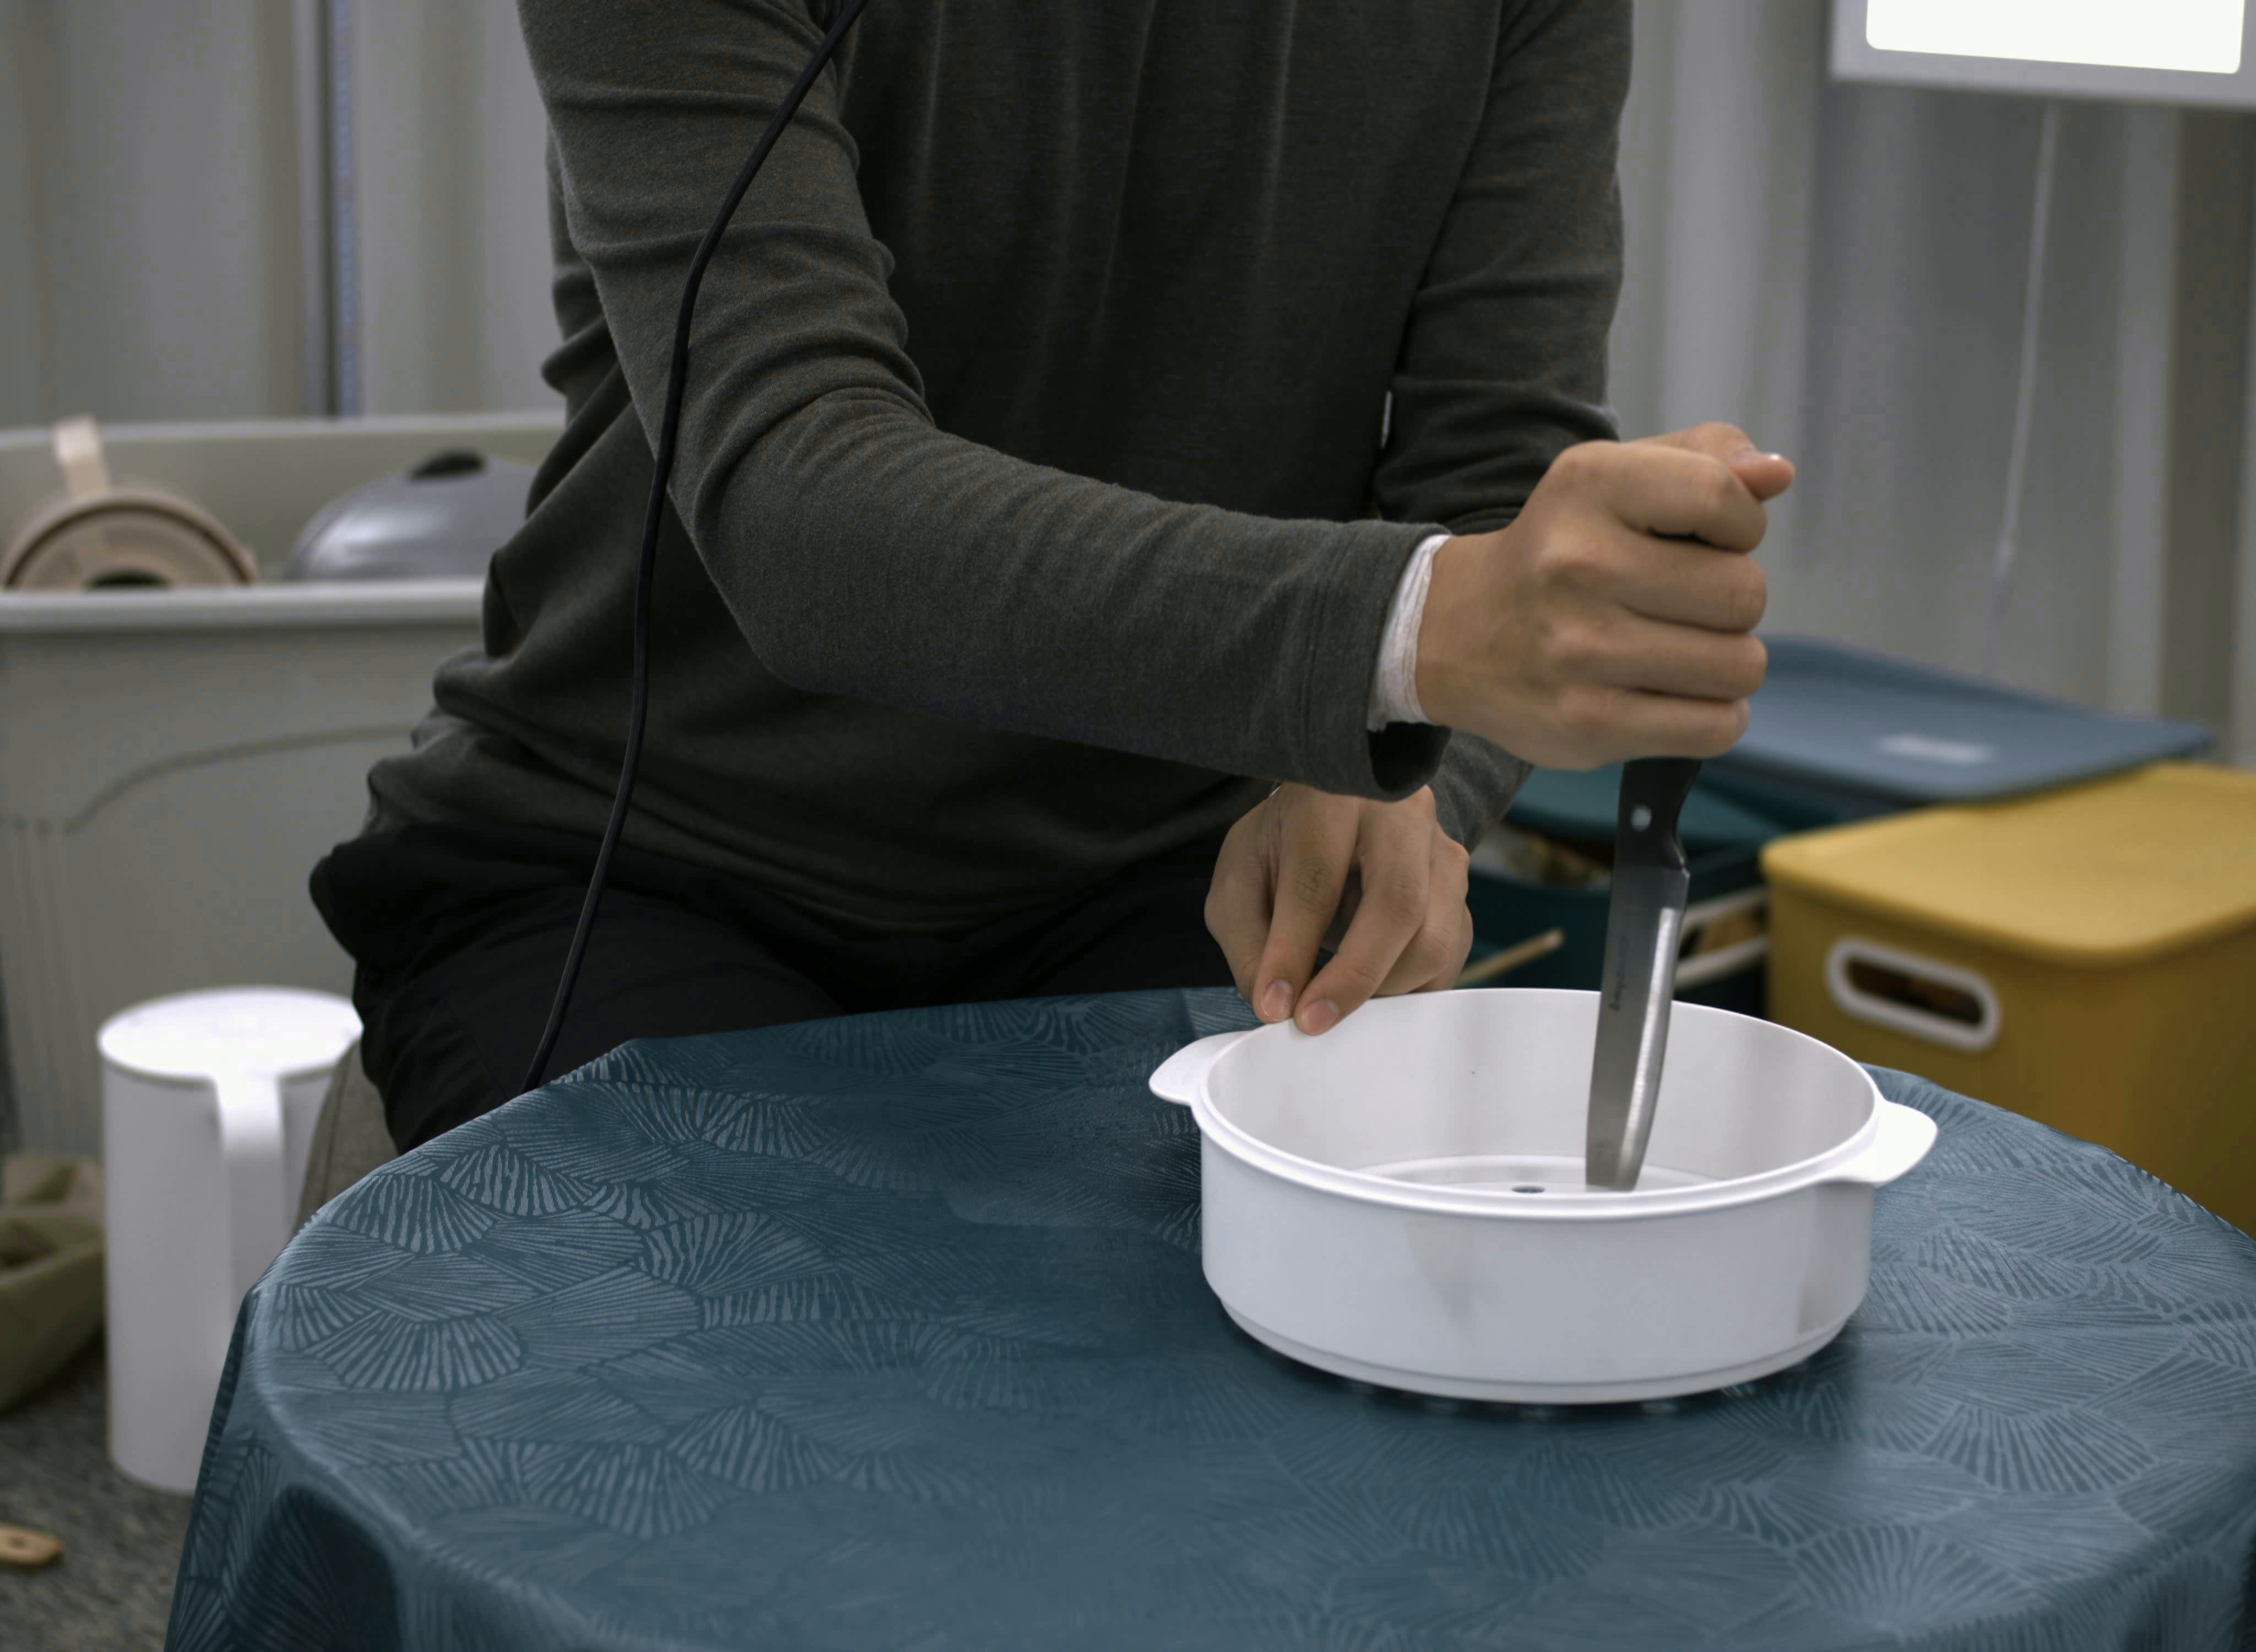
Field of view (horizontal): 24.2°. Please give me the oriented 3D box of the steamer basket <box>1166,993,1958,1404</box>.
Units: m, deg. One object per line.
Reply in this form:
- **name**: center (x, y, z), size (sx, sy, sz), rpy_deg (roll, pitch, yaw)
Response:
- **steamer basket**: center (0.123, 0.106, 1.522), size (0.228, 0.070, 0.202), rpy_deg (6, 16, 21)

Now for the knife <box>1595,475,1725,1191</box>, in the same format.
- **knife**: center (0.145, 0.017, 1.479), size (0.024, 0.240, 0.016), rpy_deg (14, 21, 28)
